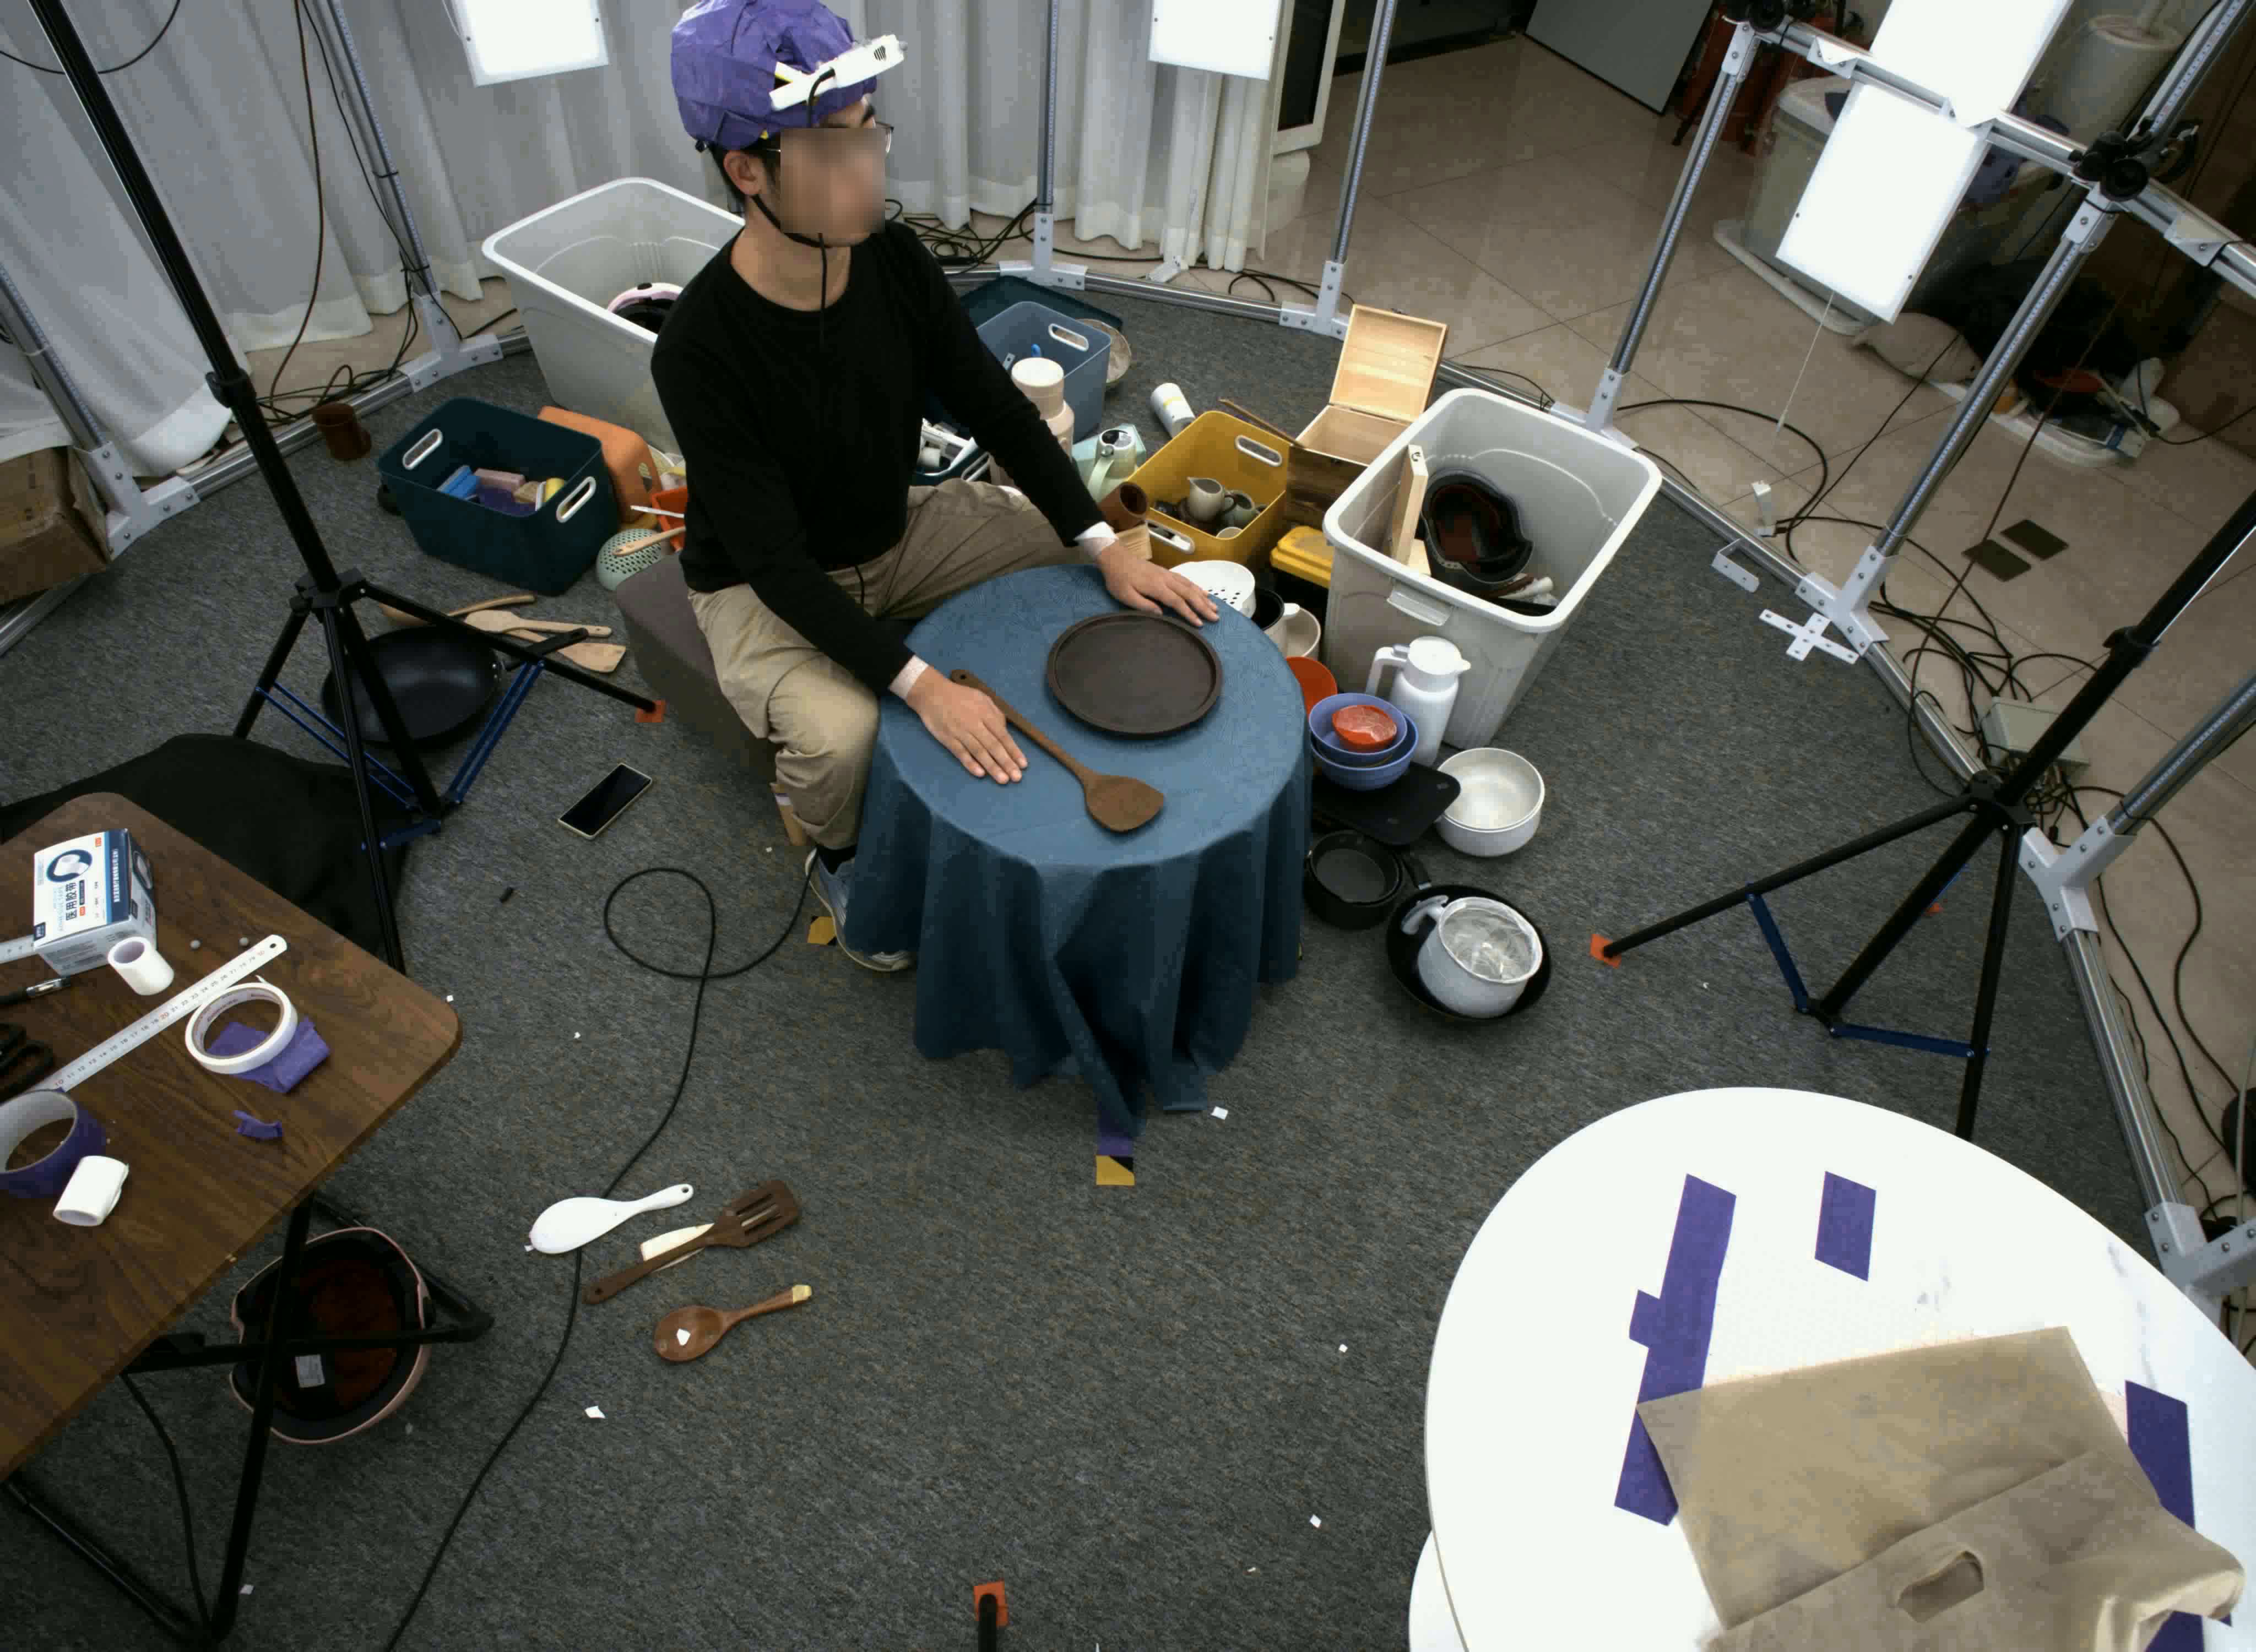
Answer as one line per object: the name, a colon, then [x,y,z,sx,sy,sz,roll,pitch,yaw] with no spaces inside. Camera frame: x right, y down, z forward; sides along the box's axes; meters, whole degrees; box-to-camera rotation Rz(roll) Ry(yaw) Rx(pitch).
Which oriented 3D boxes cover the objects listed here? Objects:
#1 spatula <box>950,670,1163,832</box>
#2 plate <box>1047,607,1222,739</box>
spatula: [-0.113,-0.114,1.751,0.097,0.015,0.392,-35,60,-30]
plate: [0.009,-0.219,1.844,0.254,0.028,0.261,1,50,-1]
